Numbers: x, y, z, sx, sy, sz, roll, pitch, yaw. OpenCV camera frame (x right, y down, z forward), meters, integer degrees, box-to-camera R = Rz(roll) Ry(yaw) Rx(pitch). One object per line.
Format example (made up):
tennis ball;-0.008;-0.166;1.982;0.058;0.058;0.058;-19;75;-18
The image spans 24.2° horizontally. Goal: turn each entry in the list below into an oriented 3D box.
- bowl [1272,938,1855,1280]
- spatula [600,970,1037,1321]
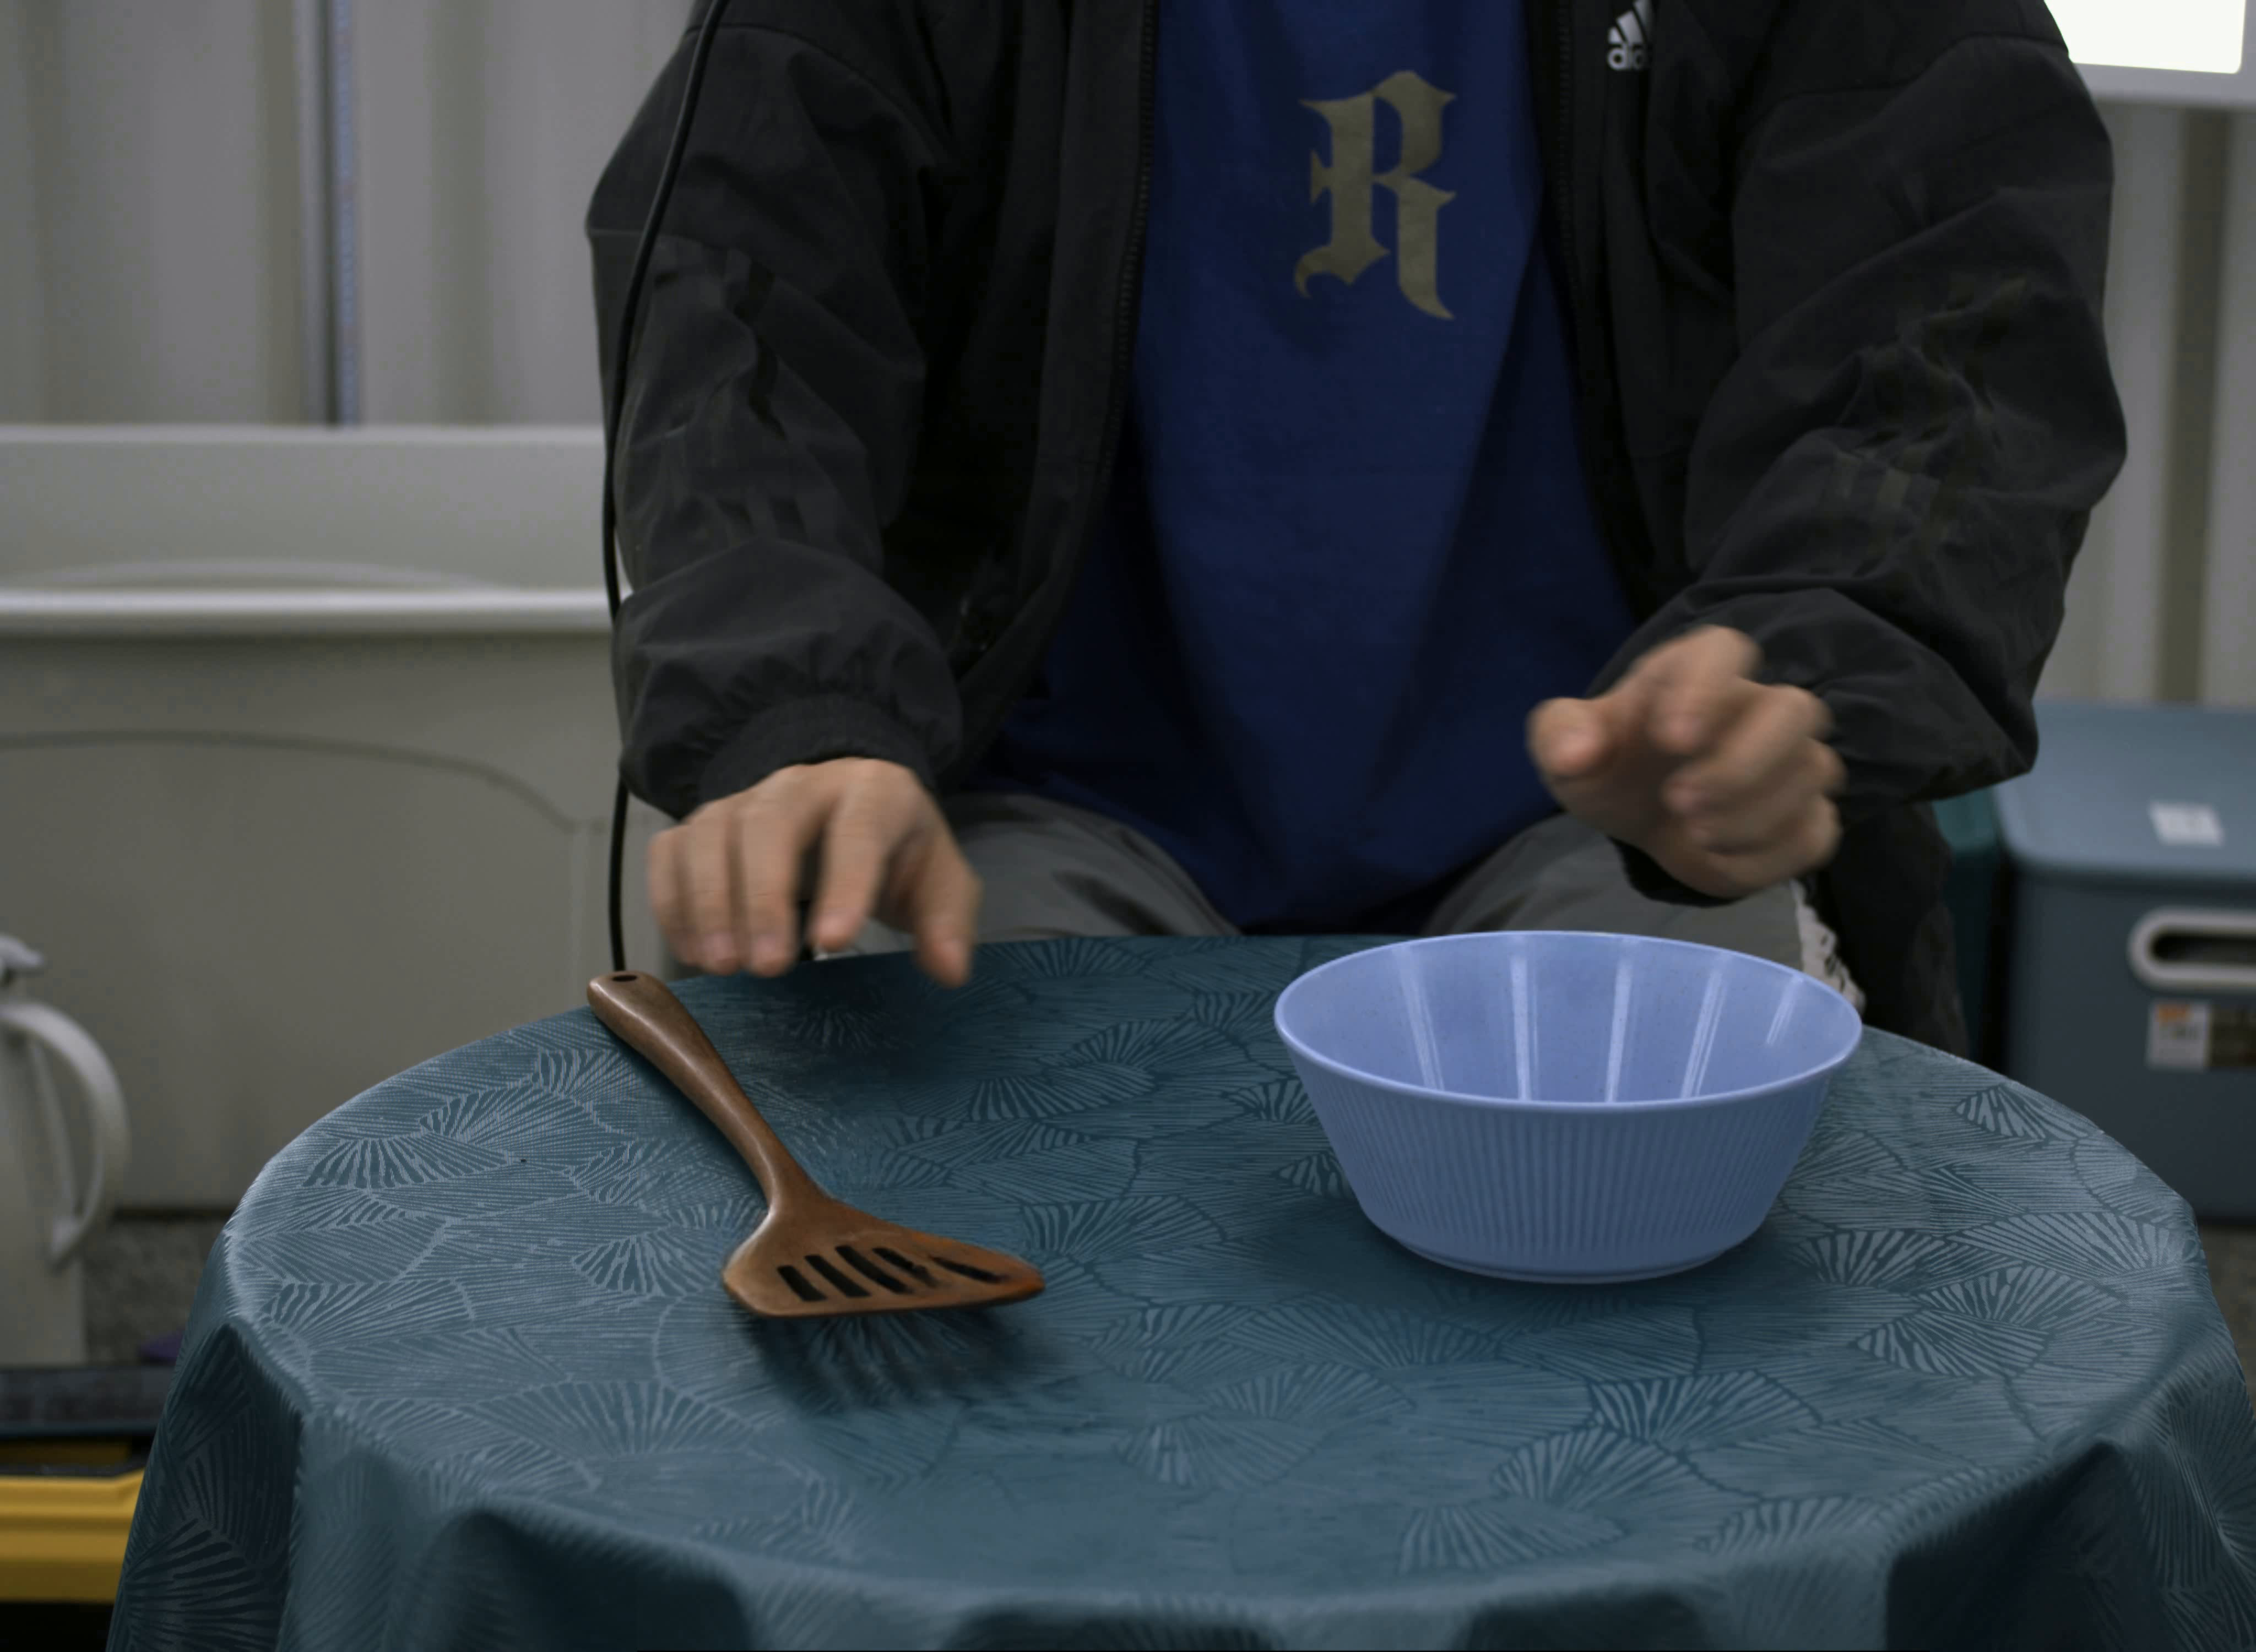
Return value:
bowl;0.130;0.087;1.586;0.175;0.071;0.175;1;14;0
spatula;-0.116;0.099;1.630;0.085;0.024;0.383;-4;15;-17
